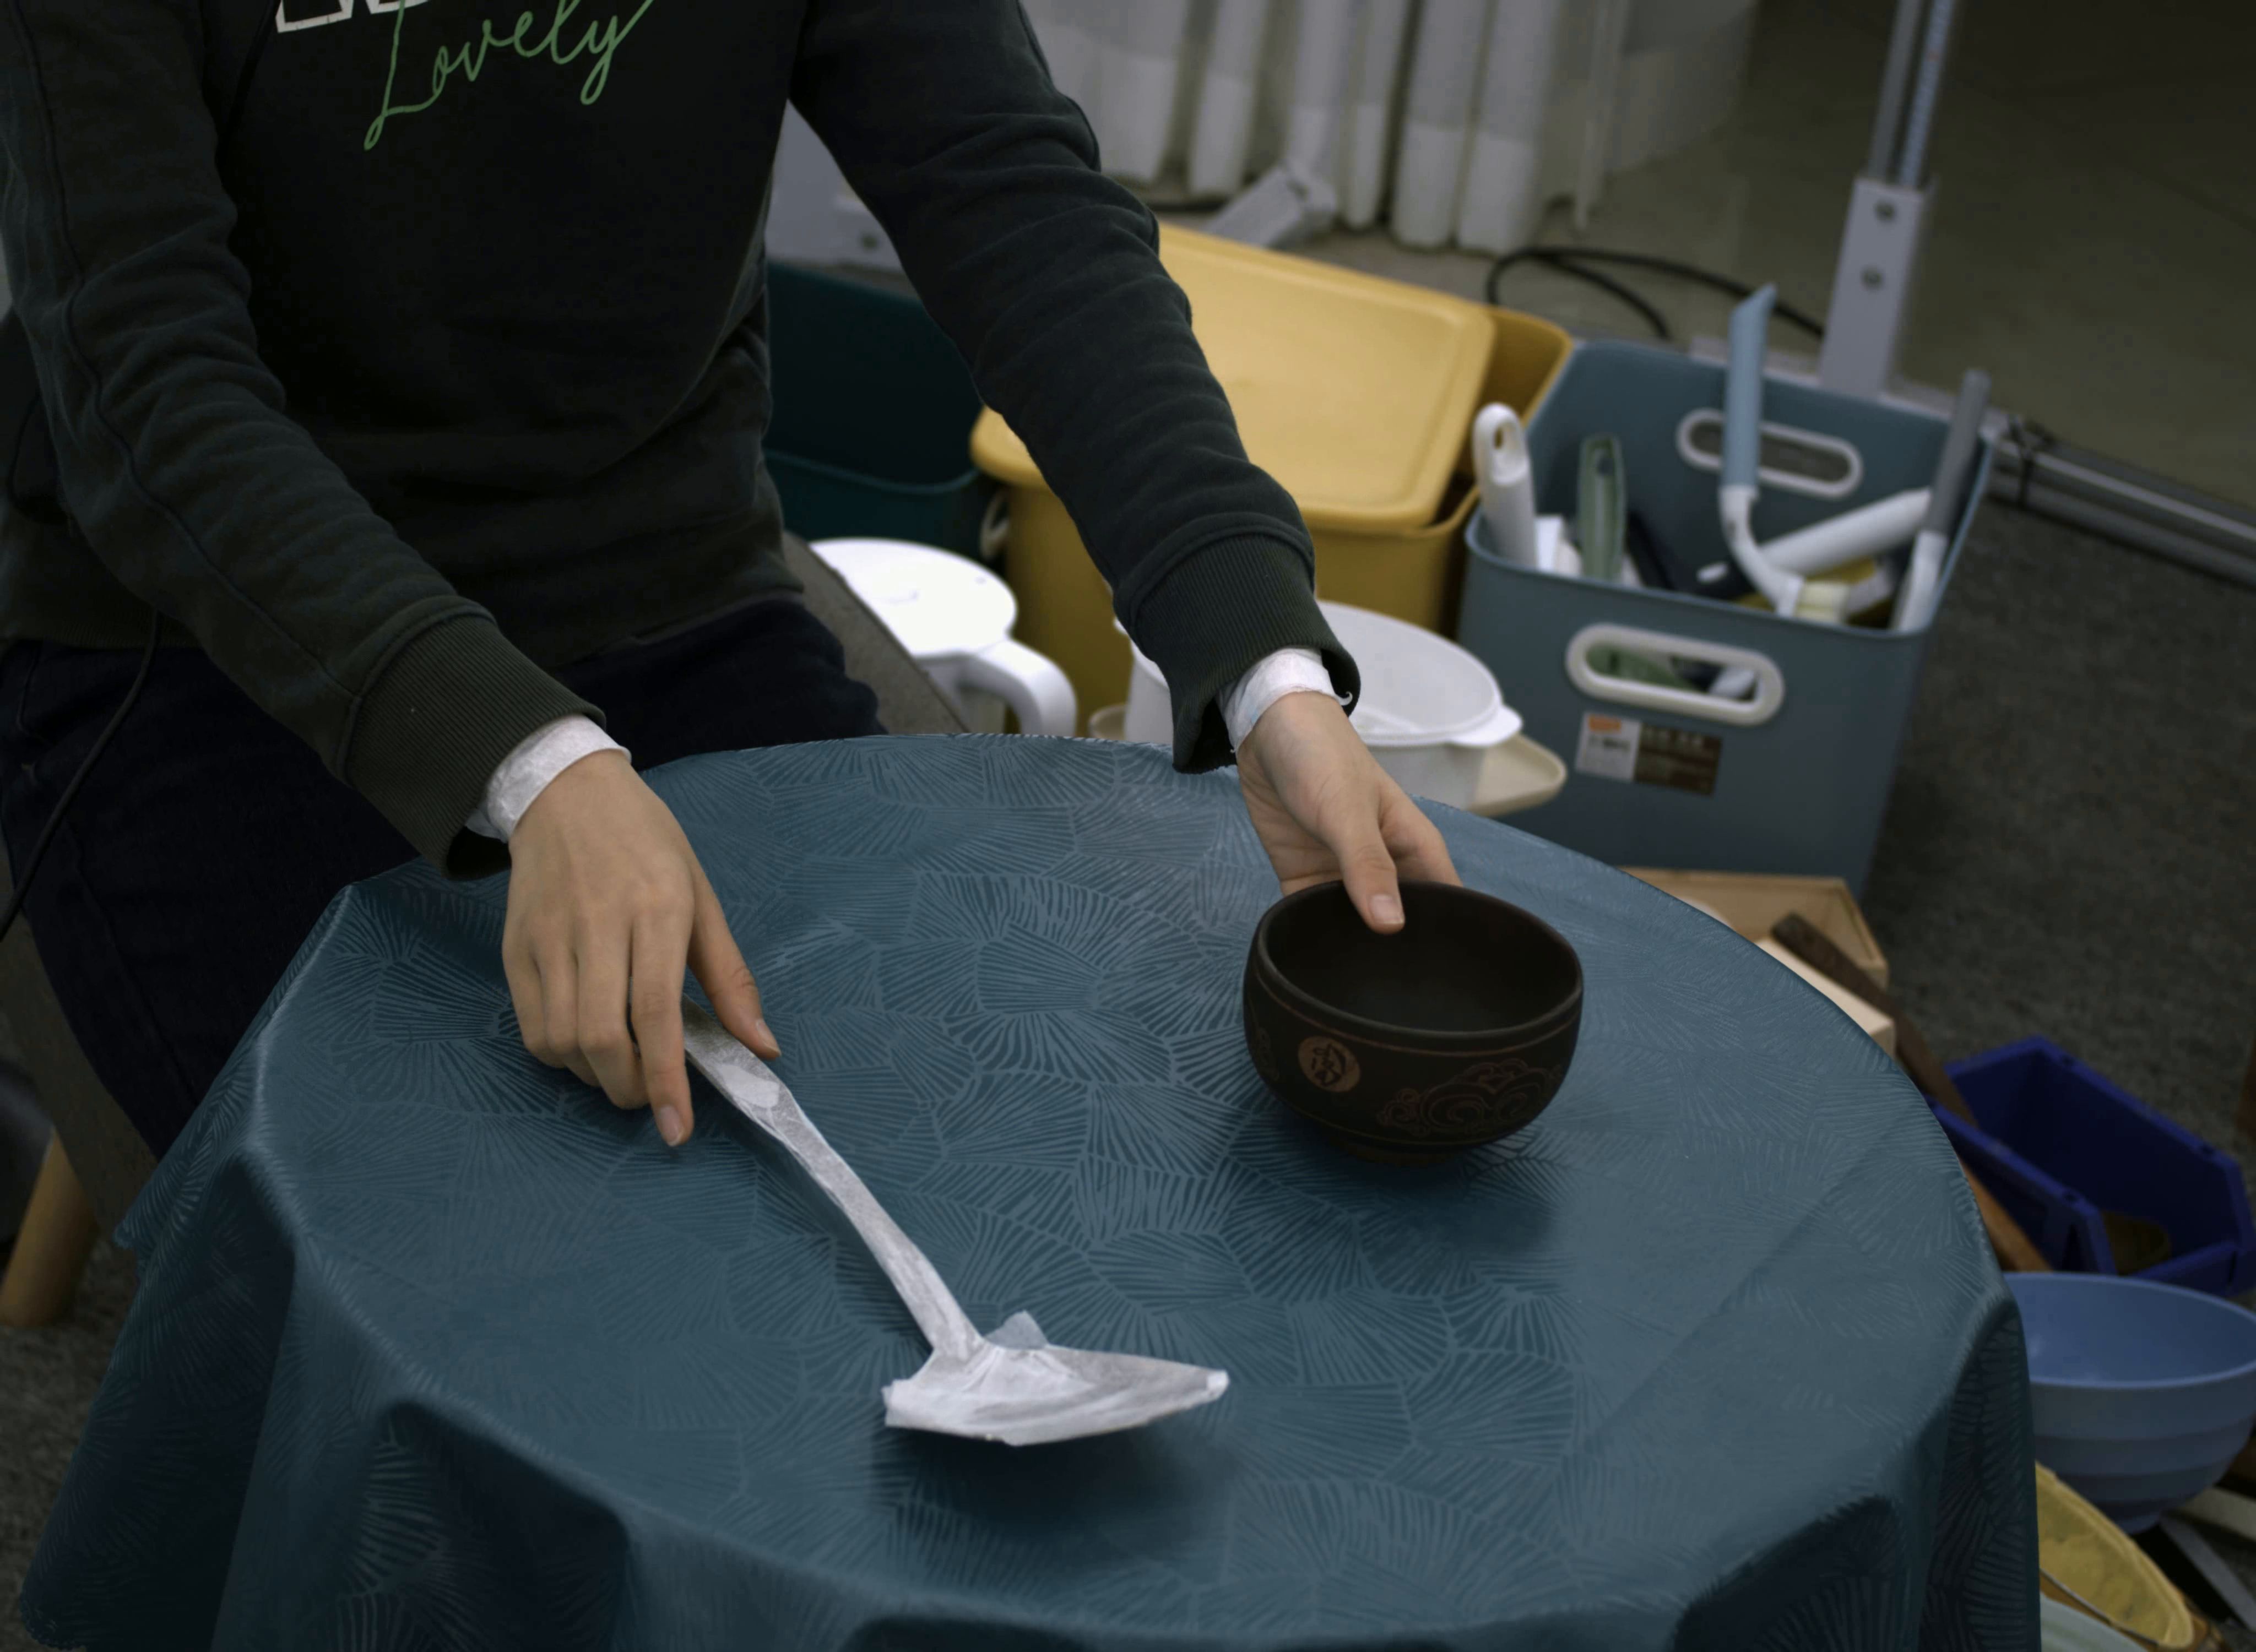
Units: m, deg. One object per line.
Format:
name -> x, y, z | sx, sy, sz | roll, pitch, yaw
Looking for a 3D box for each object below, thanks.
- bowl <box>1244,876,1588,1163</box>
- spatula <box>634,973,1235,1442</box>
bowl -> 0.097, 0.073, 1.843 | 0.117, 0.069, 0.119 | 6, 25, -3
spatula -> -0.088, 0.117, 1.750 | 0.098, 0.044, 0.368 | -10, 31, -27
